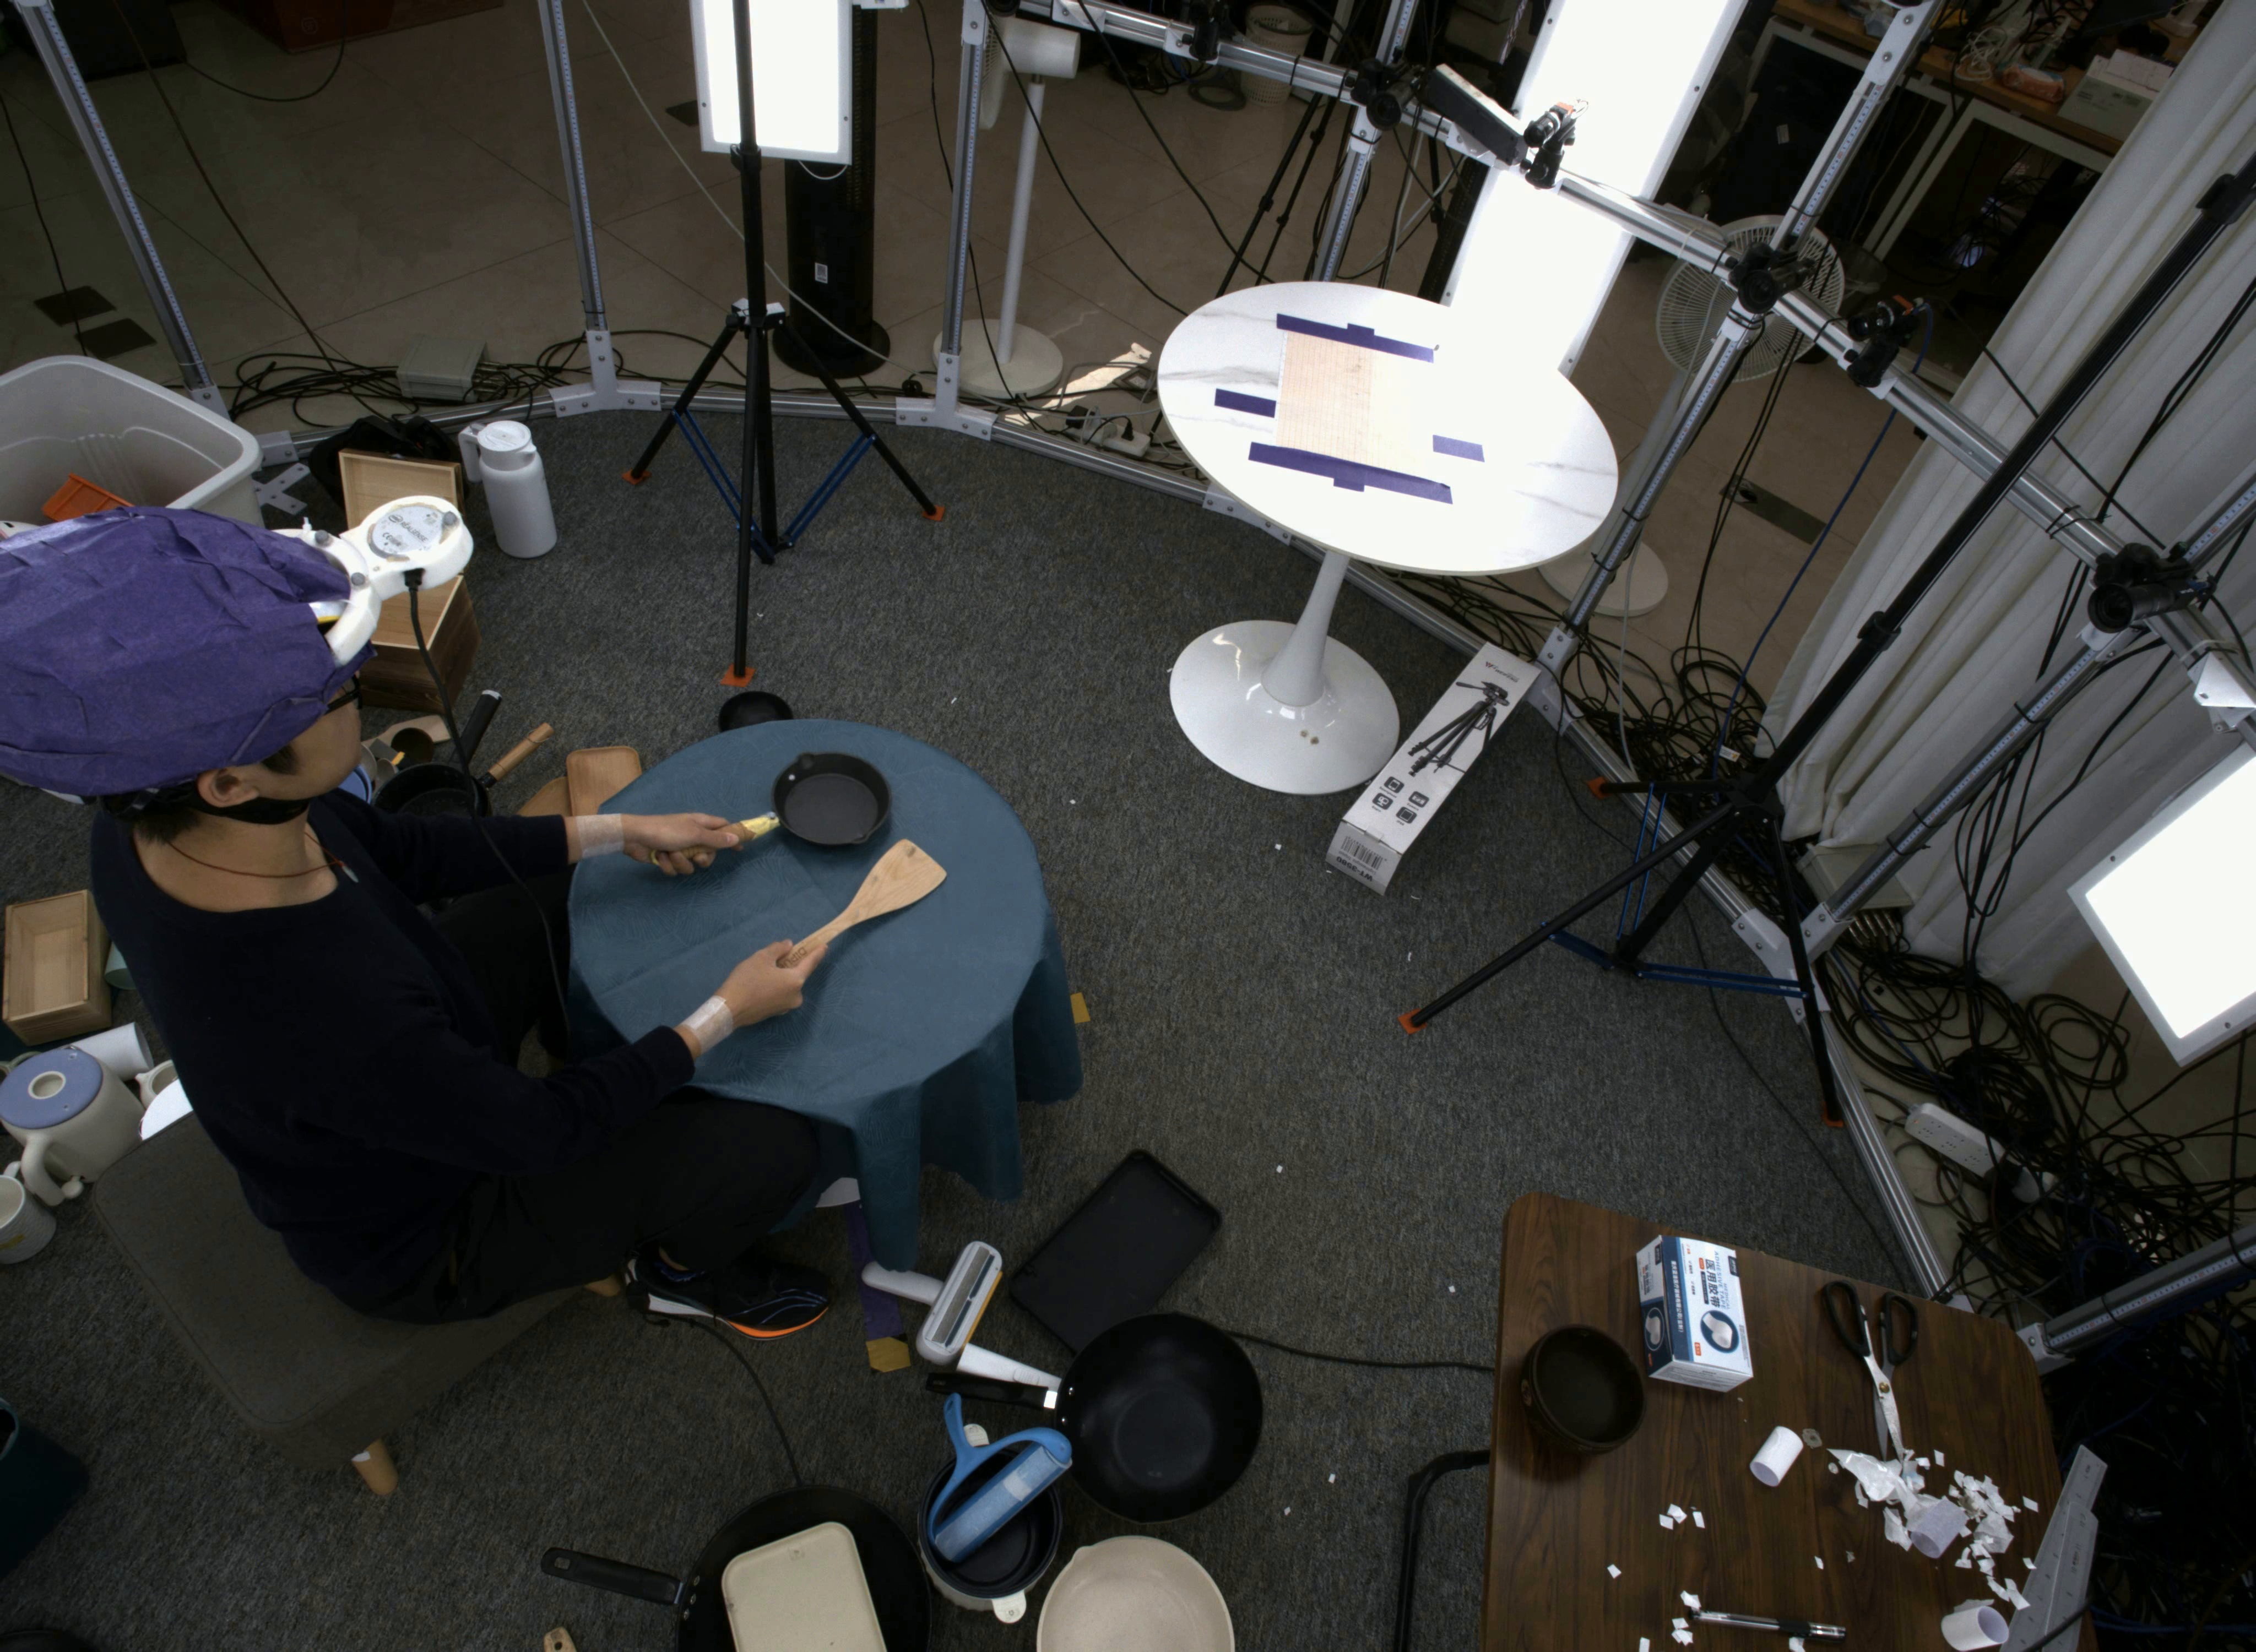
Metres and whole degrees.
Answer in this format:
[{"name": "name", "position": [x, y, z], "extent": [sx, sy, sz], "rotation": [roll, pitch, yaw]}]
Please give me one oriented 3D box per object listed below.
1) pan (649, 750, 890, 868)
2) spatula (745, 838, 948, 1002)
[{"name": "pan", "position": [-0.462, -0.008, 1.673], "extent": [0.326, 0.050, 0.165], "rotation": [-22, 63, -31]}, {"name": "spatula", "position": [-0.350, 0.115, 1.602], "extent": [0.080, 0.016, 0.328], "rotation": [50, 45, -2]}]
